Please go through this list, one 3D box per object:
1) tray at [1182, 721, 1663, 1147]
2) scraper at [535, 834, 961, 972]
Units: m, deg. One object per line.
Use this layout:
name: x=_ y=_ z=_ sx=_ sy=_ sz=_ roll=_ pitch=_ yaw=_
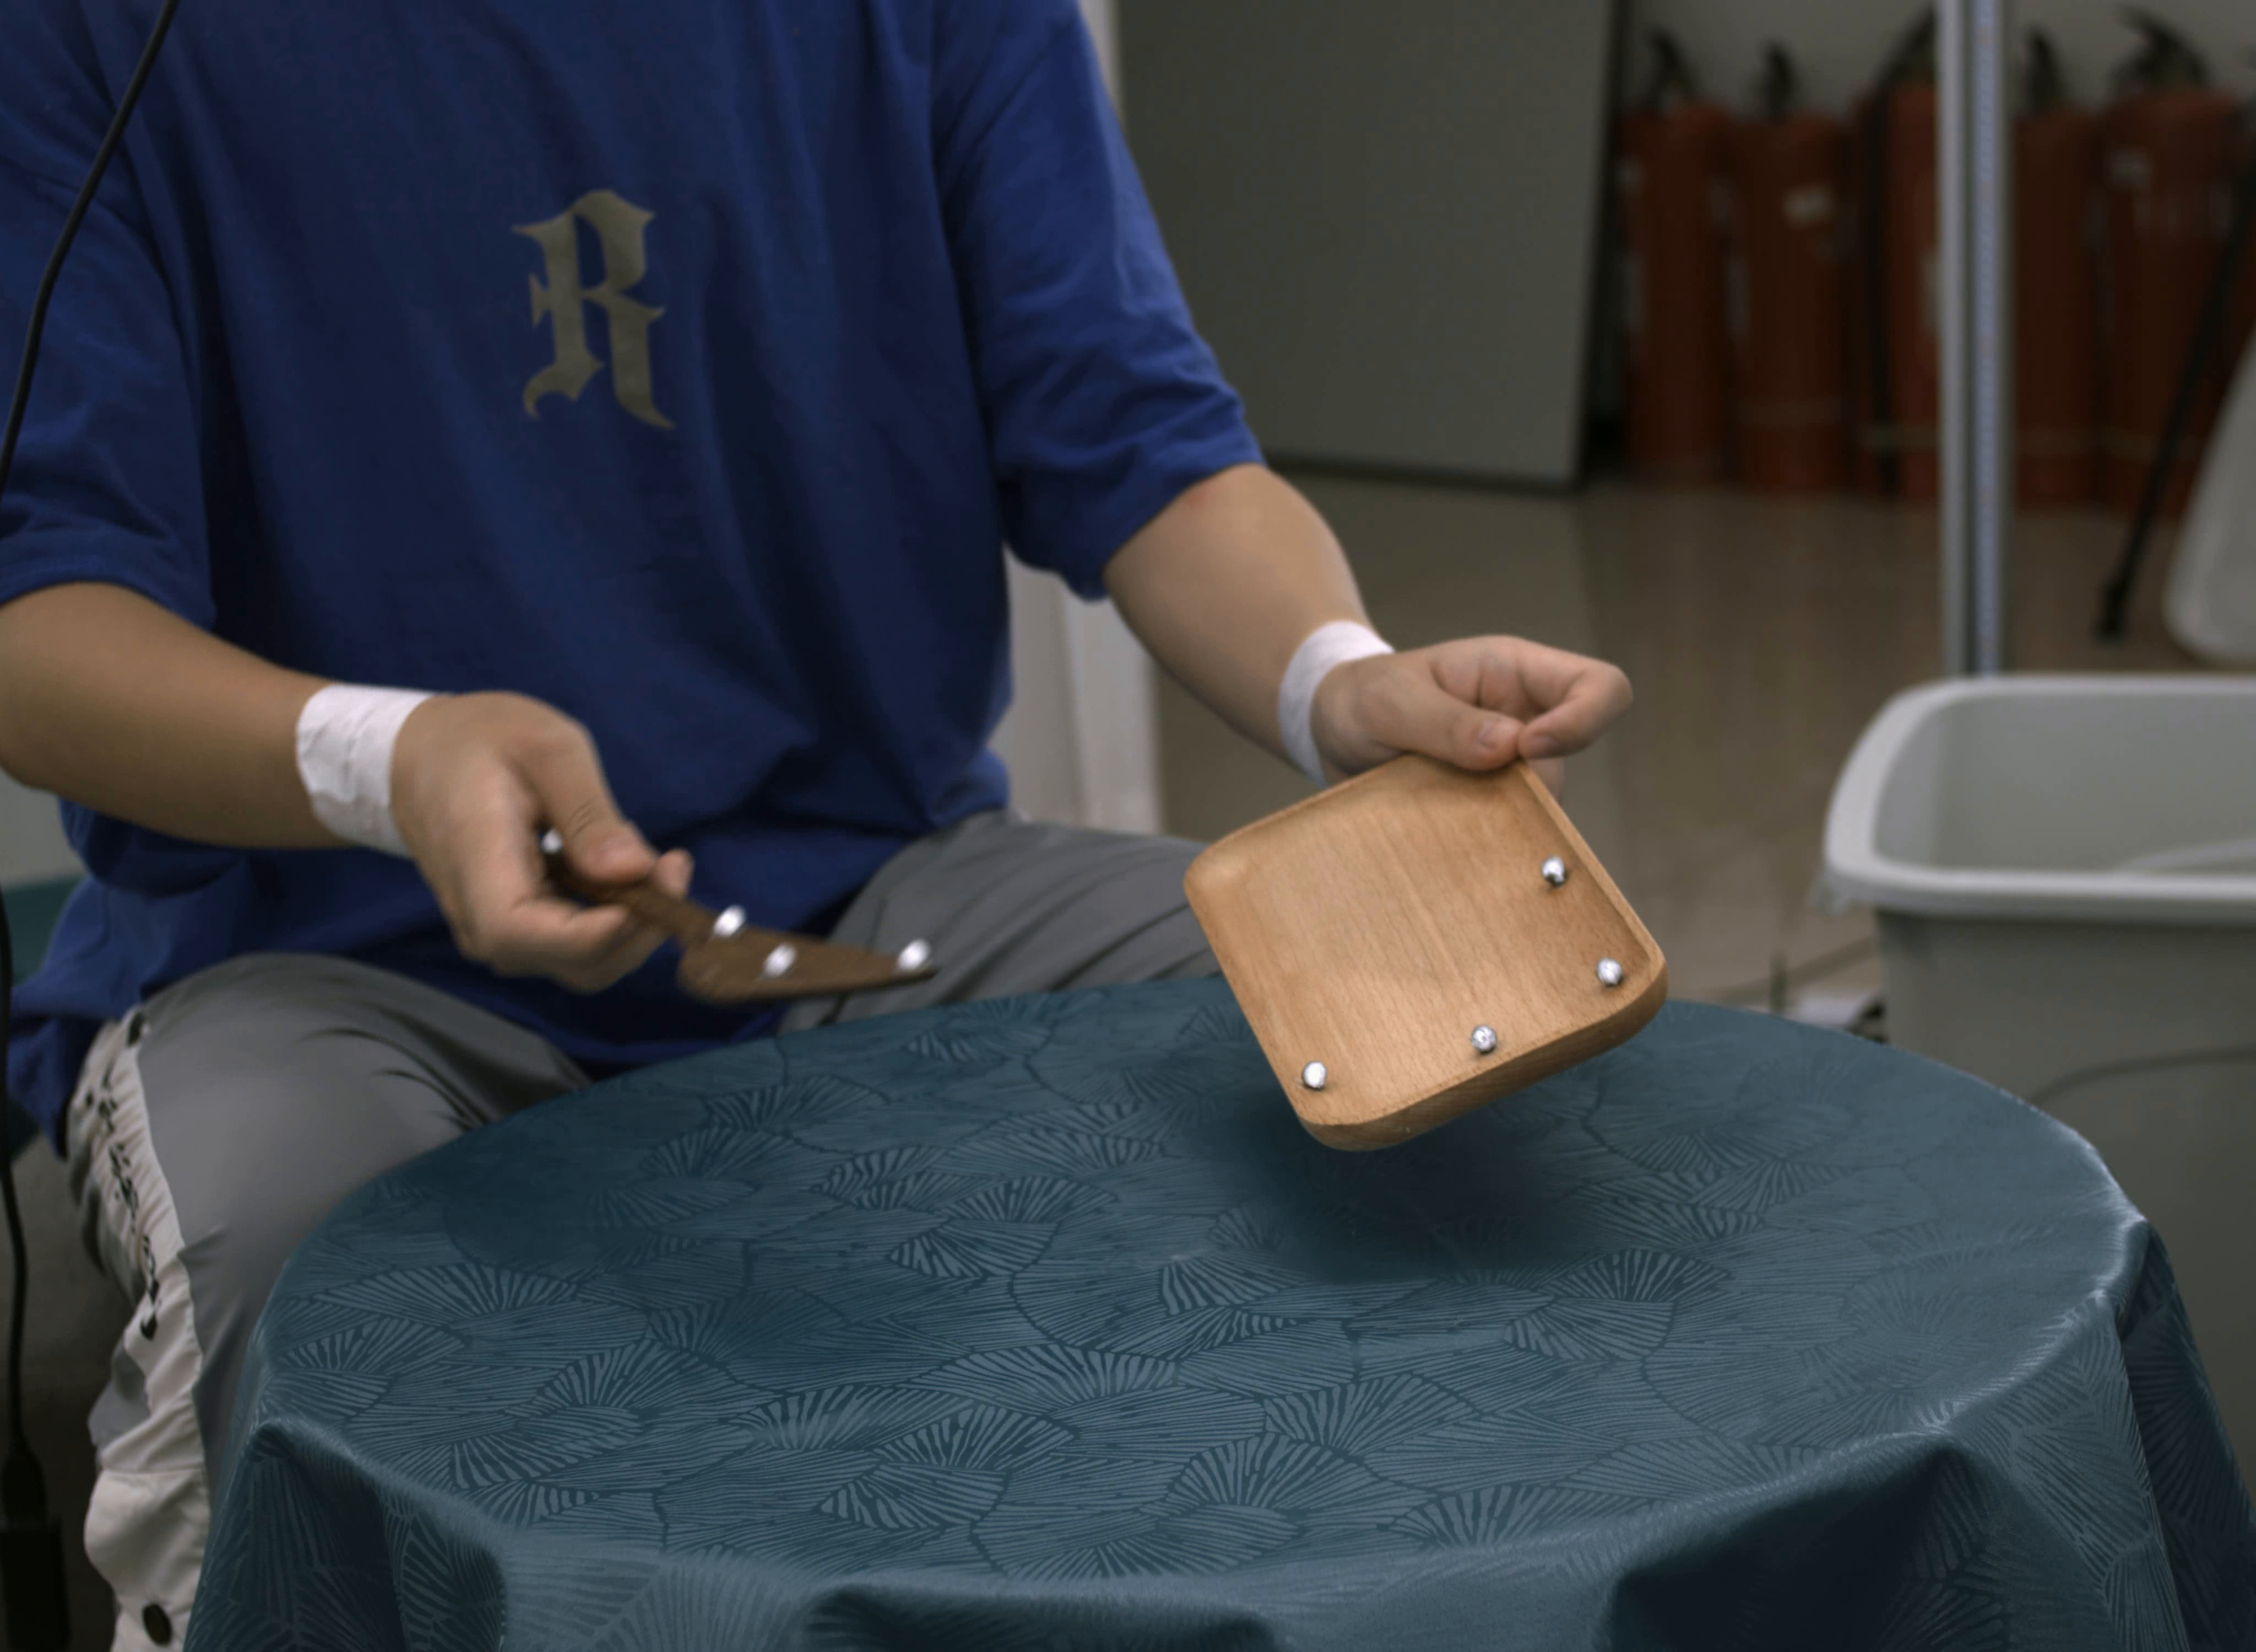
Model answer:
tray: x=0.094 y=0.033 z=1.775 sx=0.129 sy=0.023 sz=0.252 roll=-23 pitch=22 yaw=0
scraper: x=-0.134 y=0.025 z=1.749 sx=0.074 sy=0.011 sz=0.213 roll=-3 pitch=12 yaw=-33
